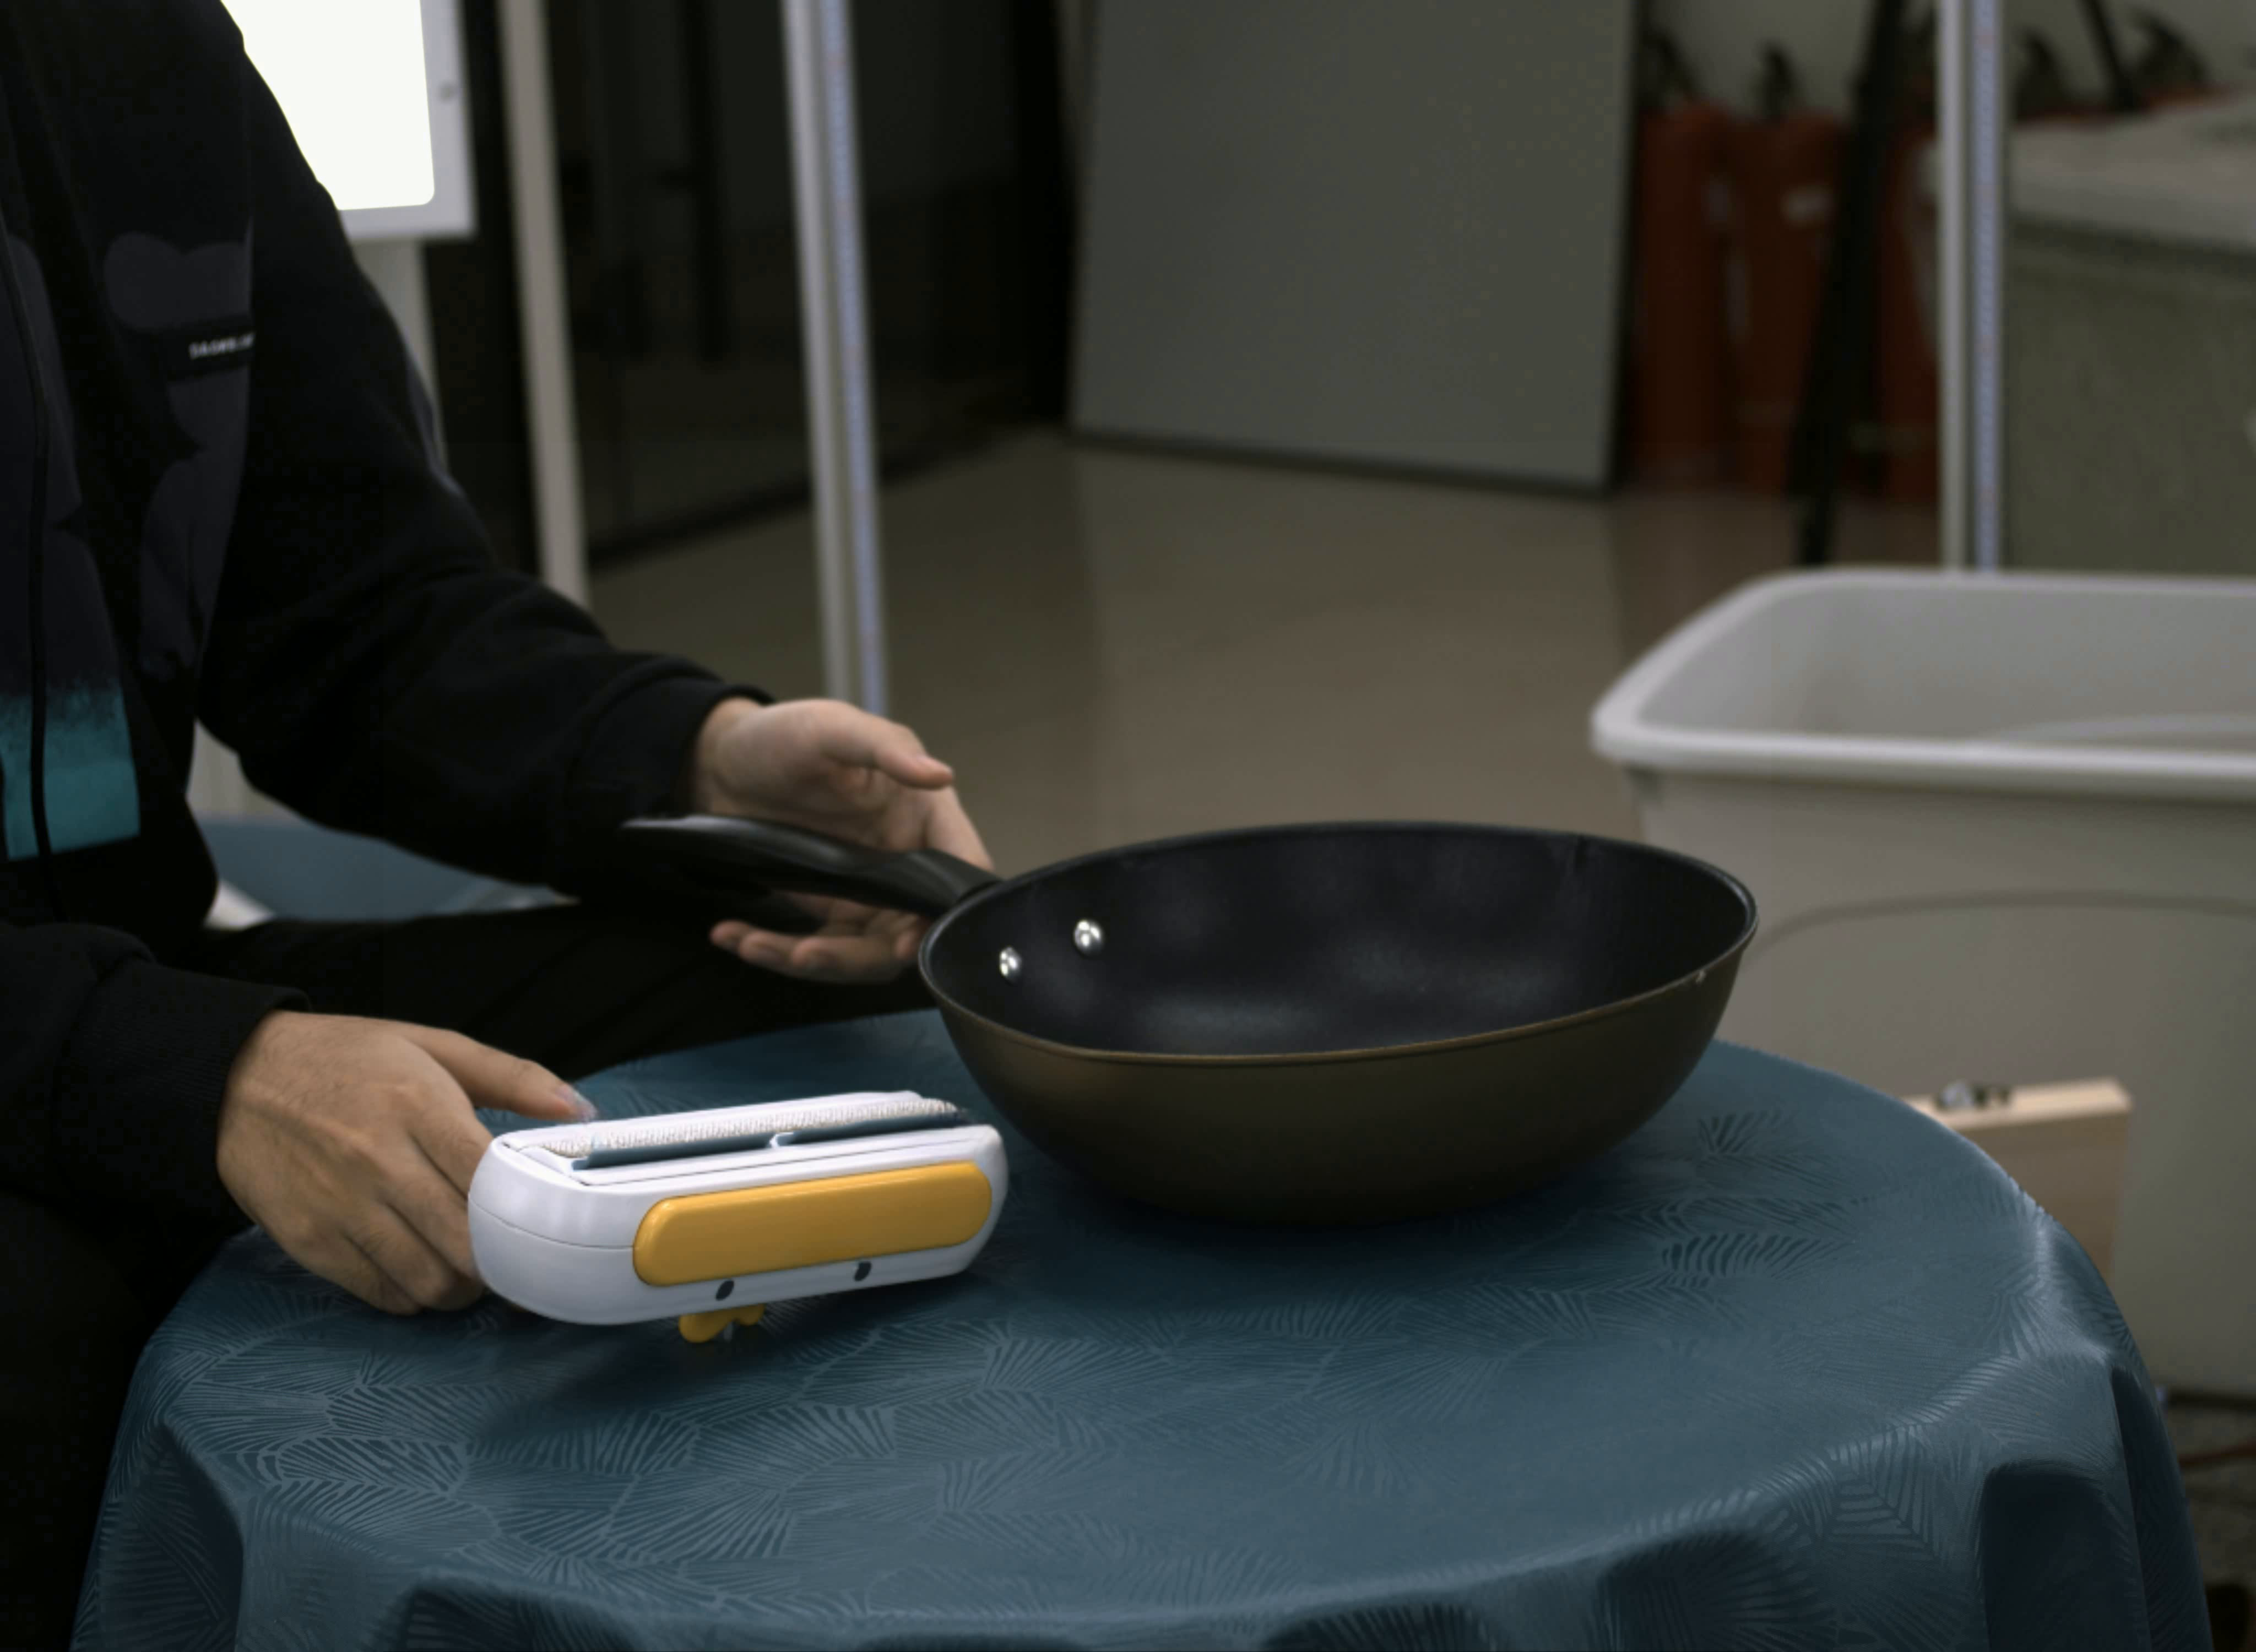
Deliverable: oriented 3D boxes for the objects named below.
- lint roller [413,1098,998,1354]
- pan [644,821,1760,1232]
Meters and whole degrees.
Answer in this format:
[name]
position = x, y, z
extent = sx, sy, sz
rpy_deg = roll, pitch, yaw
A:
[lint roller]
position = -0.161, 0.117, 1.693
extent = 0.188, 0.075, 0.194
rpy_deg = -9, 12, -40
[pan]
position = 0.001, 0.062, 1.837
extent = 0.467, 0.088, 0.282
rpy_deg = 7, 18, 40
